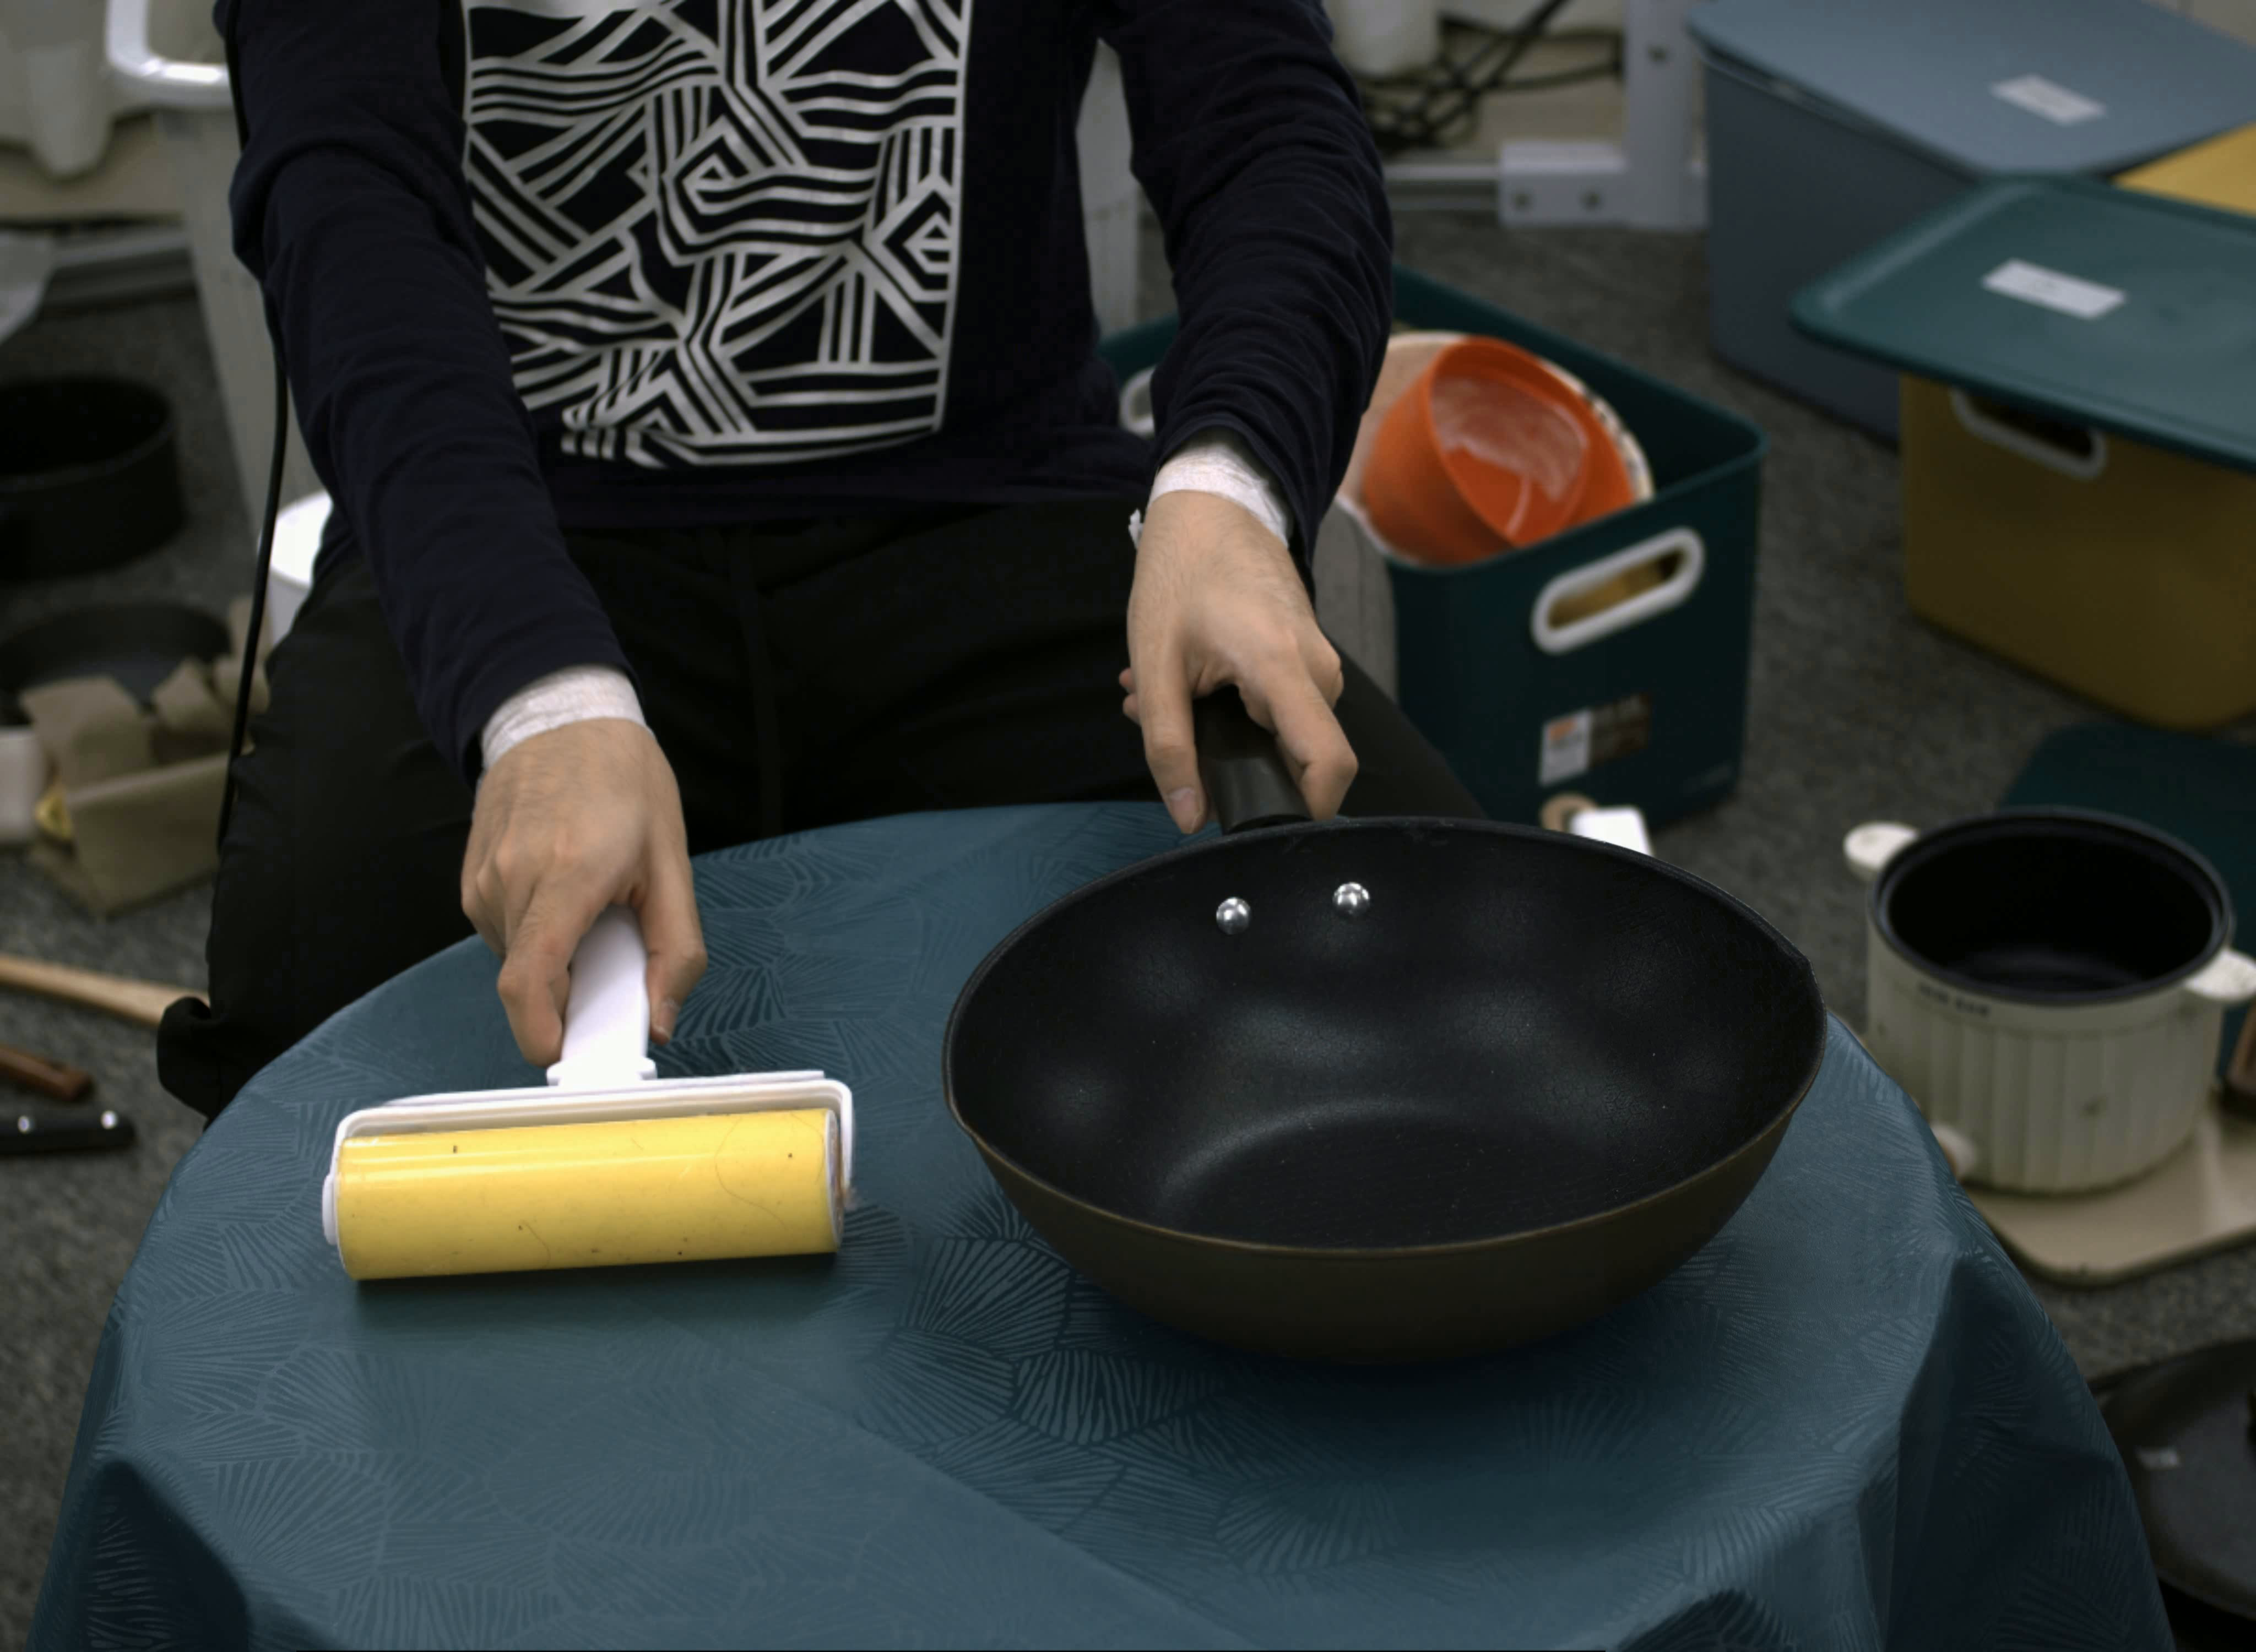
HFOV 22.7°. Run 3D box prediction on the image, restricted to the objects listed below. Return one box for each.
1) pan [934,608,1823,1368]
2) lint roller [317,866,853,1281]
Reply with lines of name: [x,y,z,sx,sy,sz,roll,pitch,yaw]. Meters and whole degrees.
pan: [0.062,0.056,1.893,0.288,0.086,0.468,-7,28,-10]
lint roller: [-0.179,0.070,1.877,0.173,0.050,0.196,-4,44,1]
